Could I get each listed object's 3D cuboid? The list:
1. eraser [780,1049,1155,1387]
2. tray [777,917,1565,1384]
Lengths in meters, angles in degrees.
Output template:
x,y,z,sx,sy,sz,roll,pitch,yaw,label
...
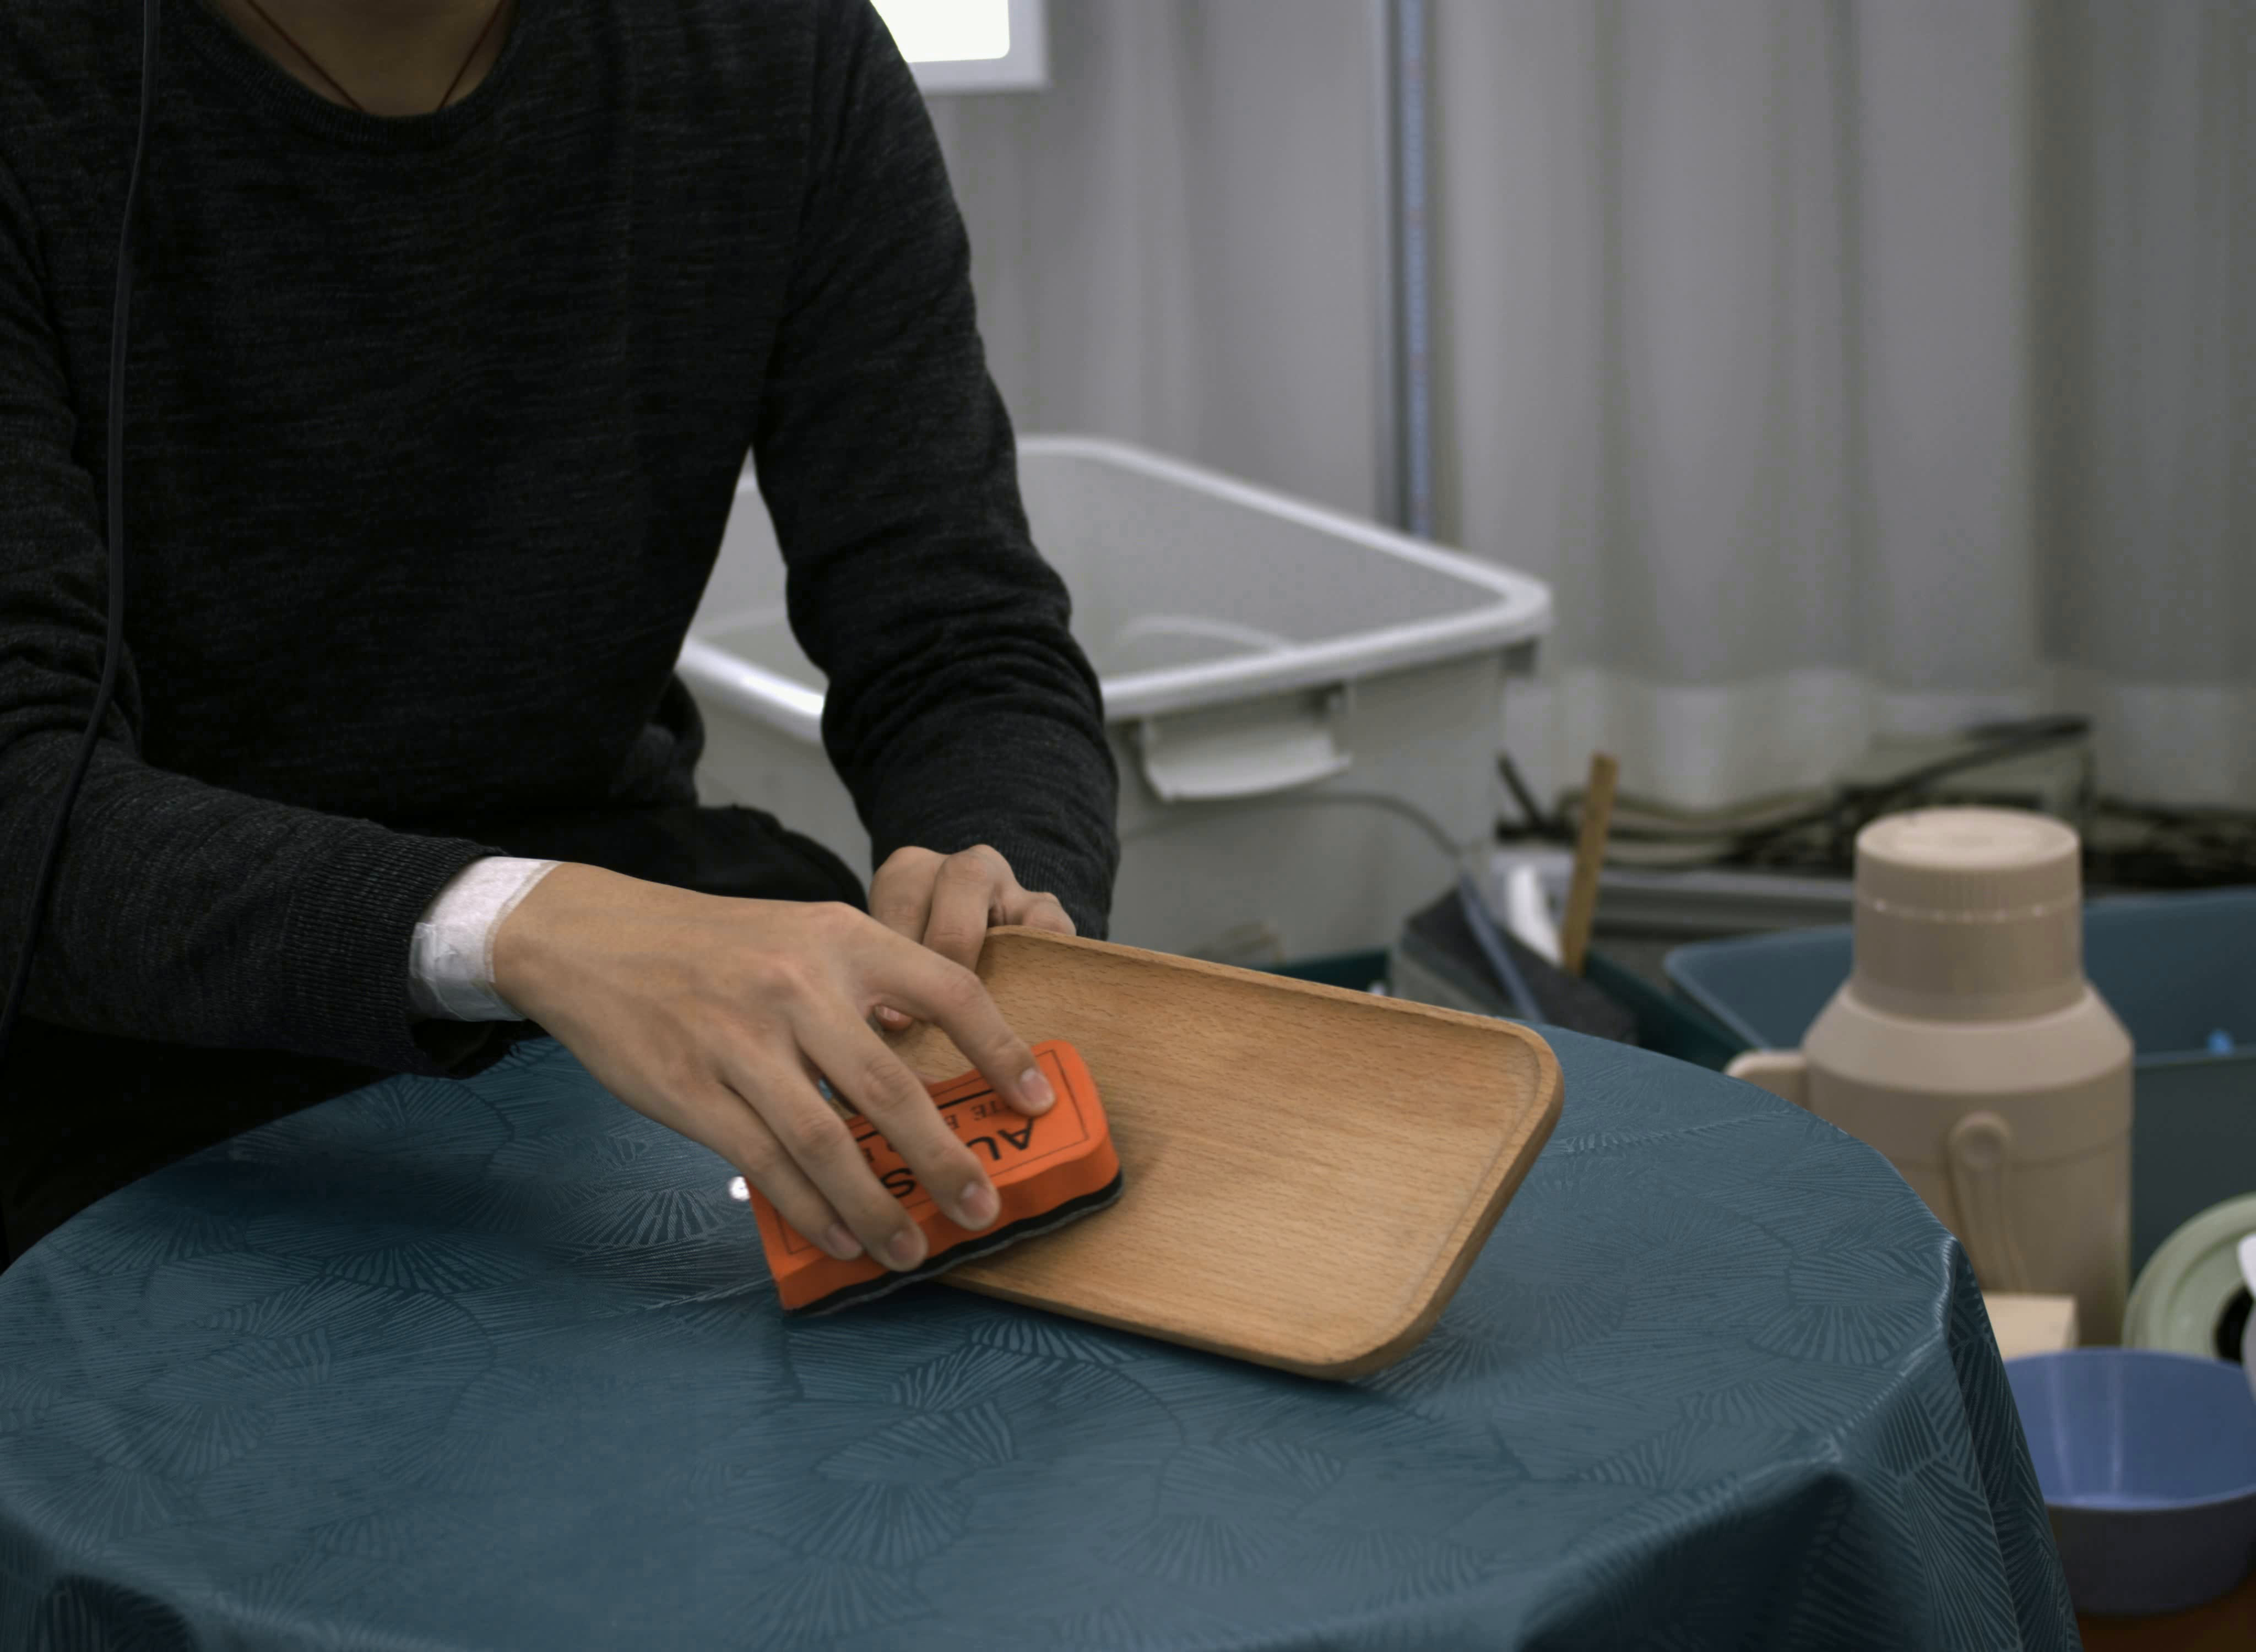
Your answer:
x,y,z,sx,sy,sz,roll,pitch,yaw,label
-0.048,0.116,1.618,0.108,0.022,0.059,-39,39,-14,eraser
0.010,0.095,1.629,0.252,0.022,0.131,11,53,42,tray
